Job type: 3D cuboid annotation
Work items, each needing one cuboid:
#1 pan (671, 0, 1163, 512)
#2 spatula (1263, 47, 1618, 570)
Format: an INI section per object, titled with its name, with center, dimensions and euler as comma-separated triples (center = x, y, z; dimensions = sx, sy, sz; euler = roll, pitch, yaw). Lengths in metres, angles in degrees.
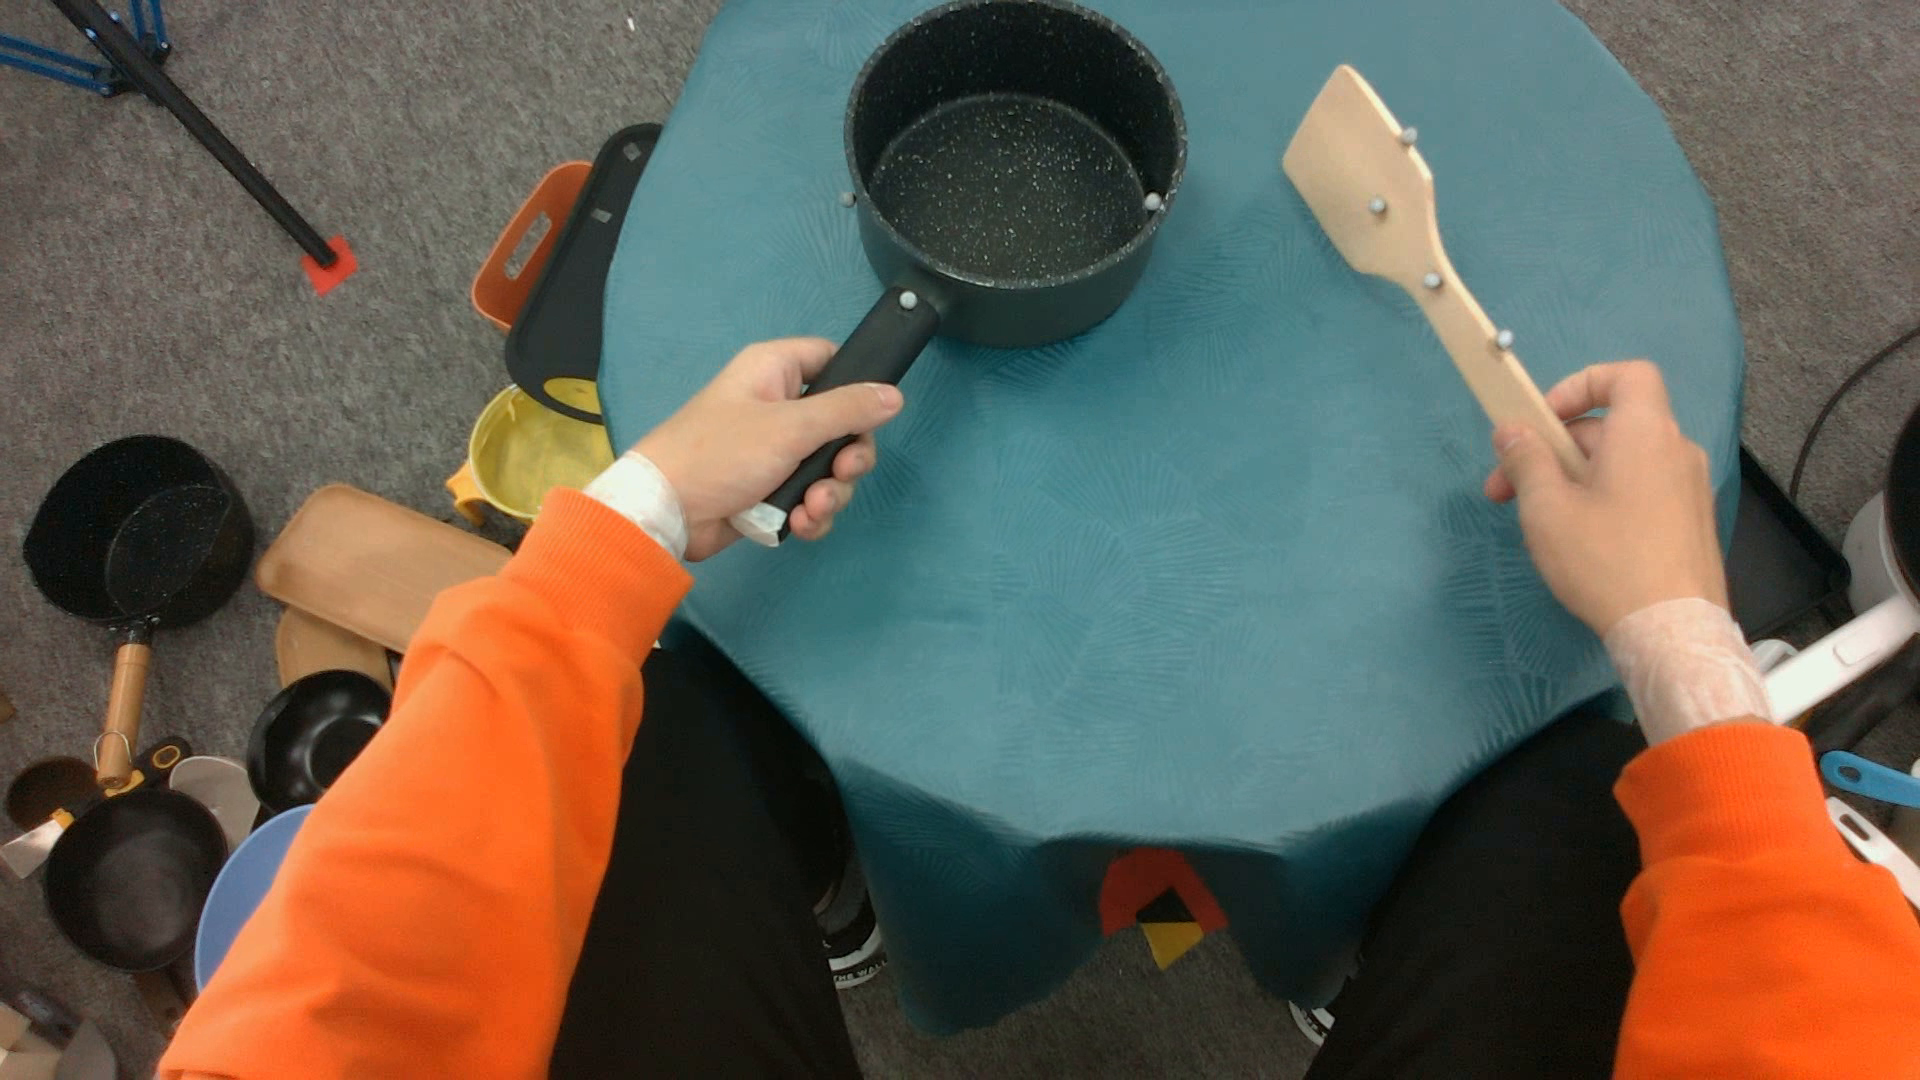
[pan]
center = -0.028, -0.136, 0.689
dimensions = 0.172, 0.086, 0.330
euler = 31, 70, 9
[spatula]
center = 0.230, -0.113, 0.663
dimensions = 0.011, 0.072, 0.293
euler = -10, 63, -27
